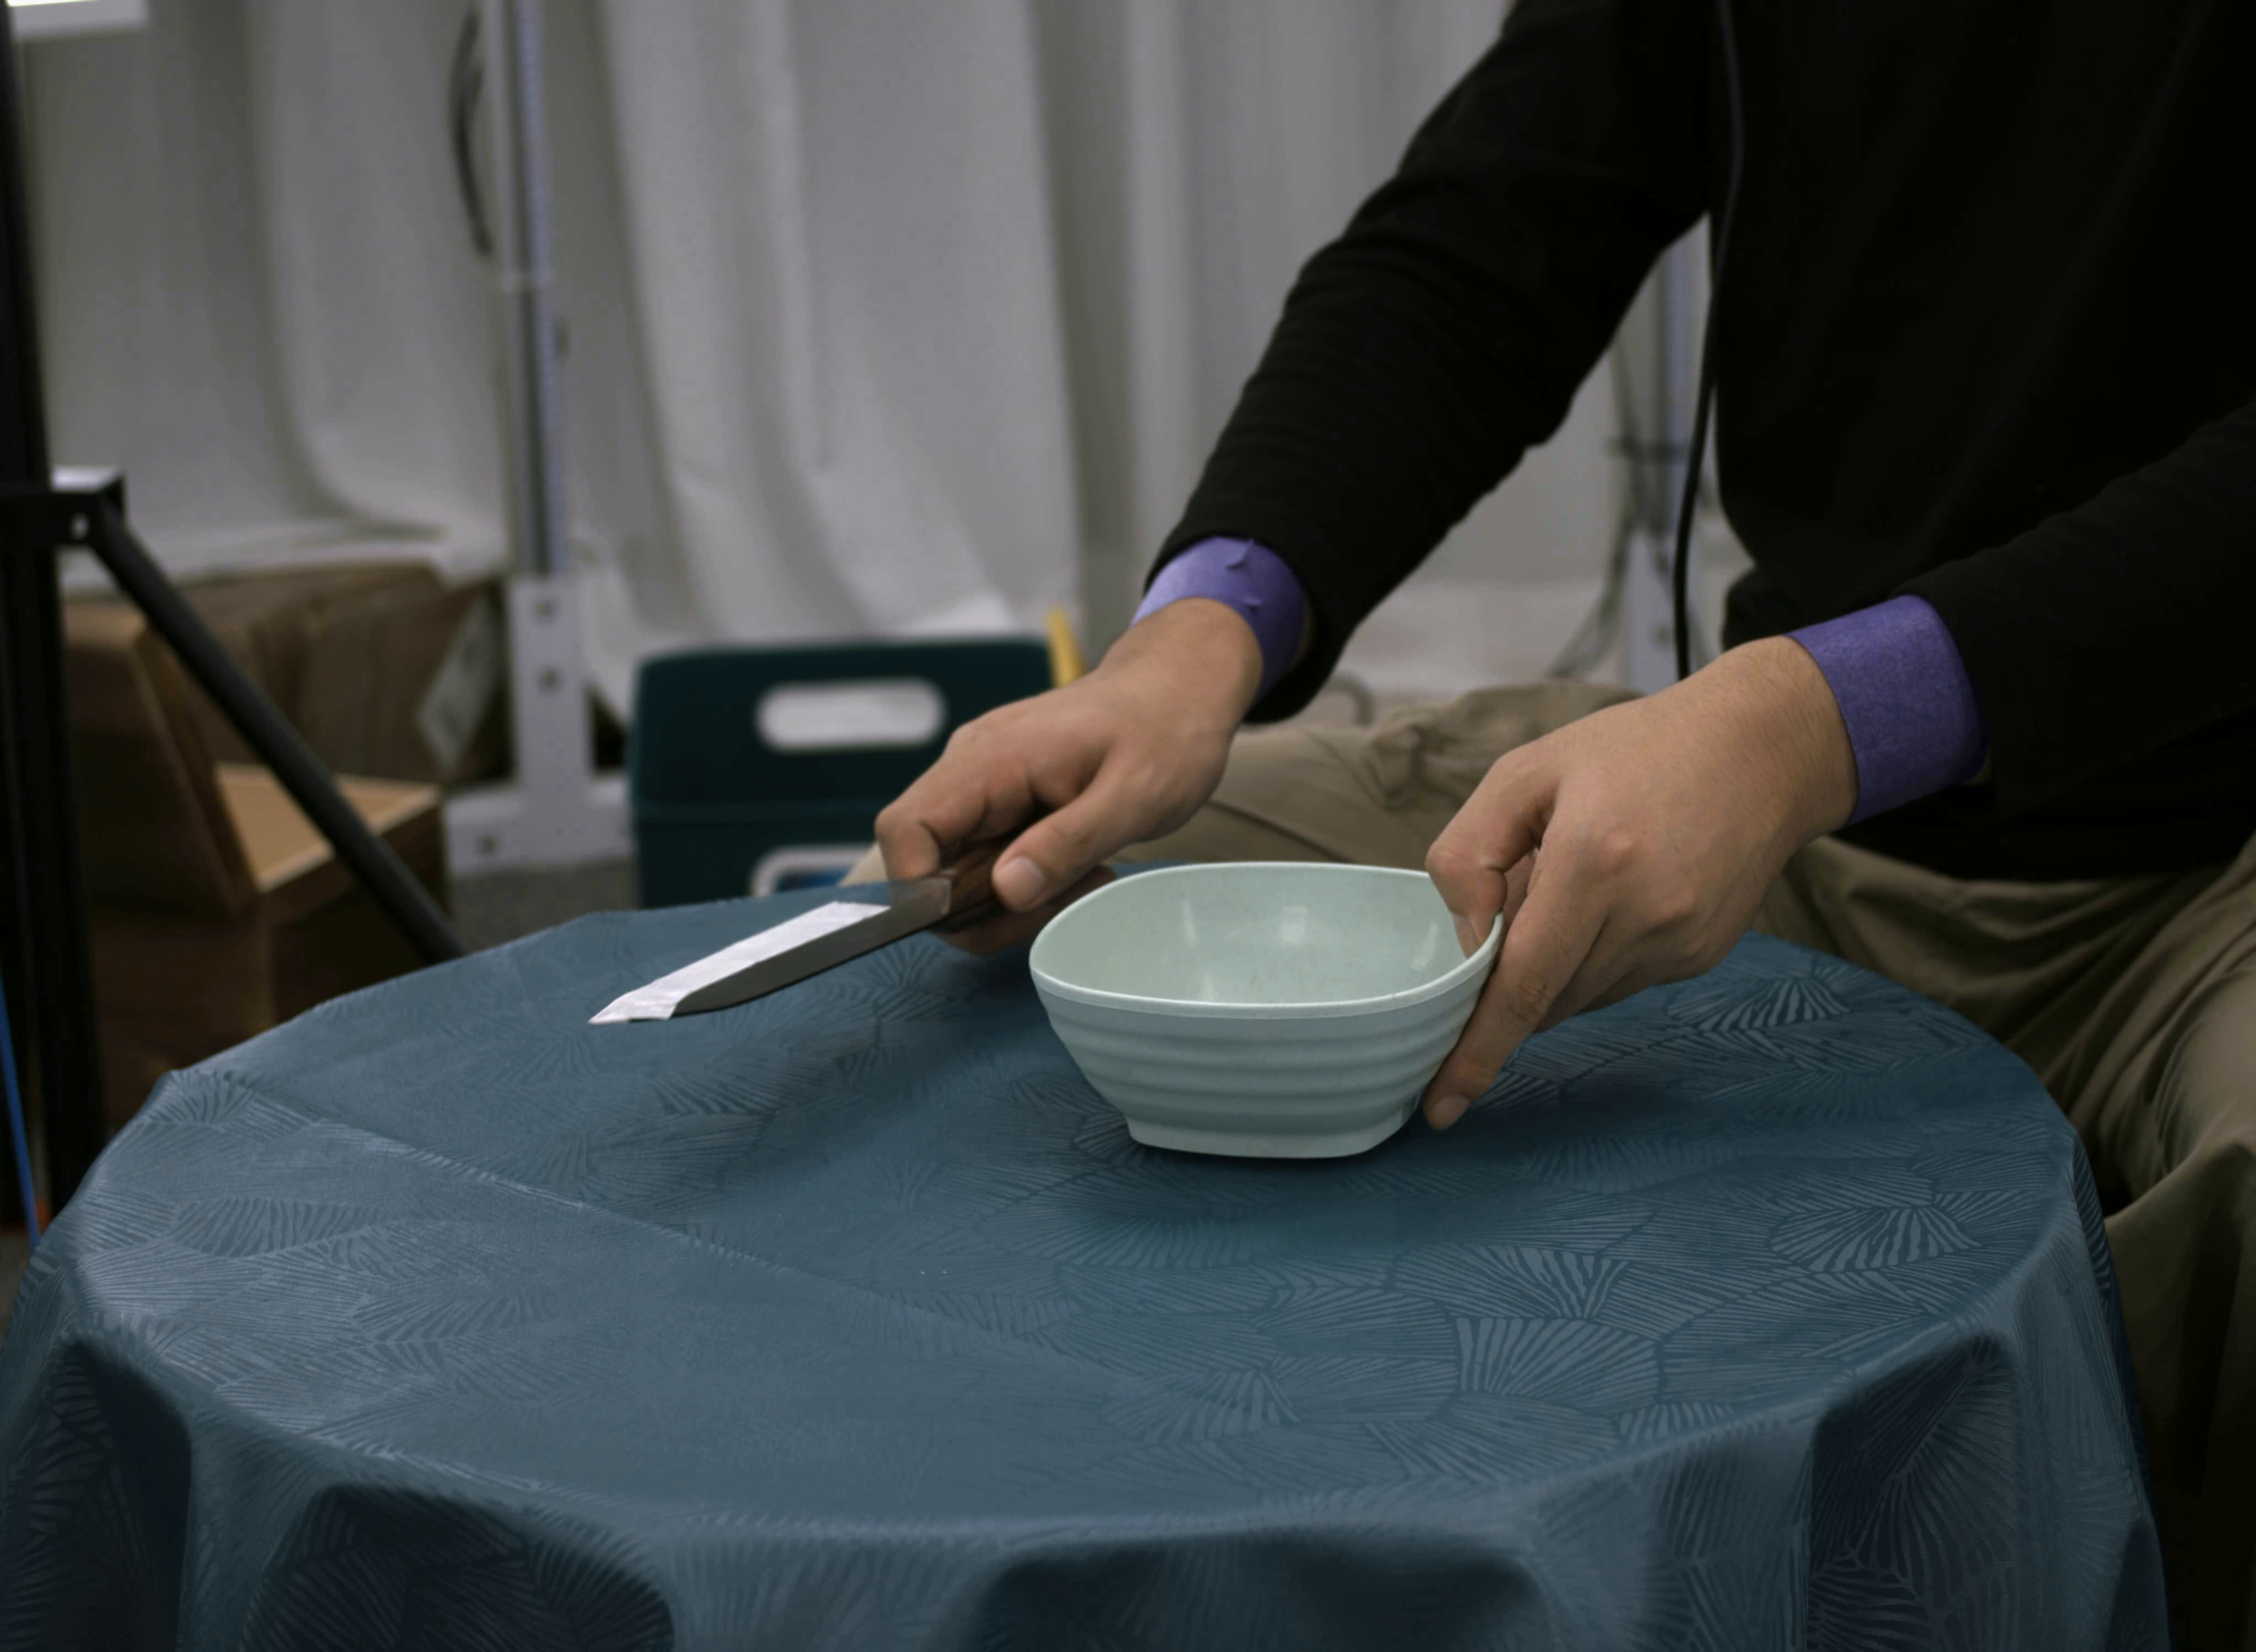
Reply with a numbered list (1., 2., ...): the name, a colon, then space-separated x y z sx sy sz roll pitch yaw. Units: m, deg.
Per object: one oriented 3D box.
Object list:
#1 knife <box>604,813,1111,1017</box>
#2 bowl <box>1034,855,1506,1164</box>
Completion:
1. knife: -0.081 0.030 1.688 0.051 0.020 0.283 3 12 30
2. bowl: 0.045 0.059 1.602 0.151 0.058 0.152 -4 18 0
